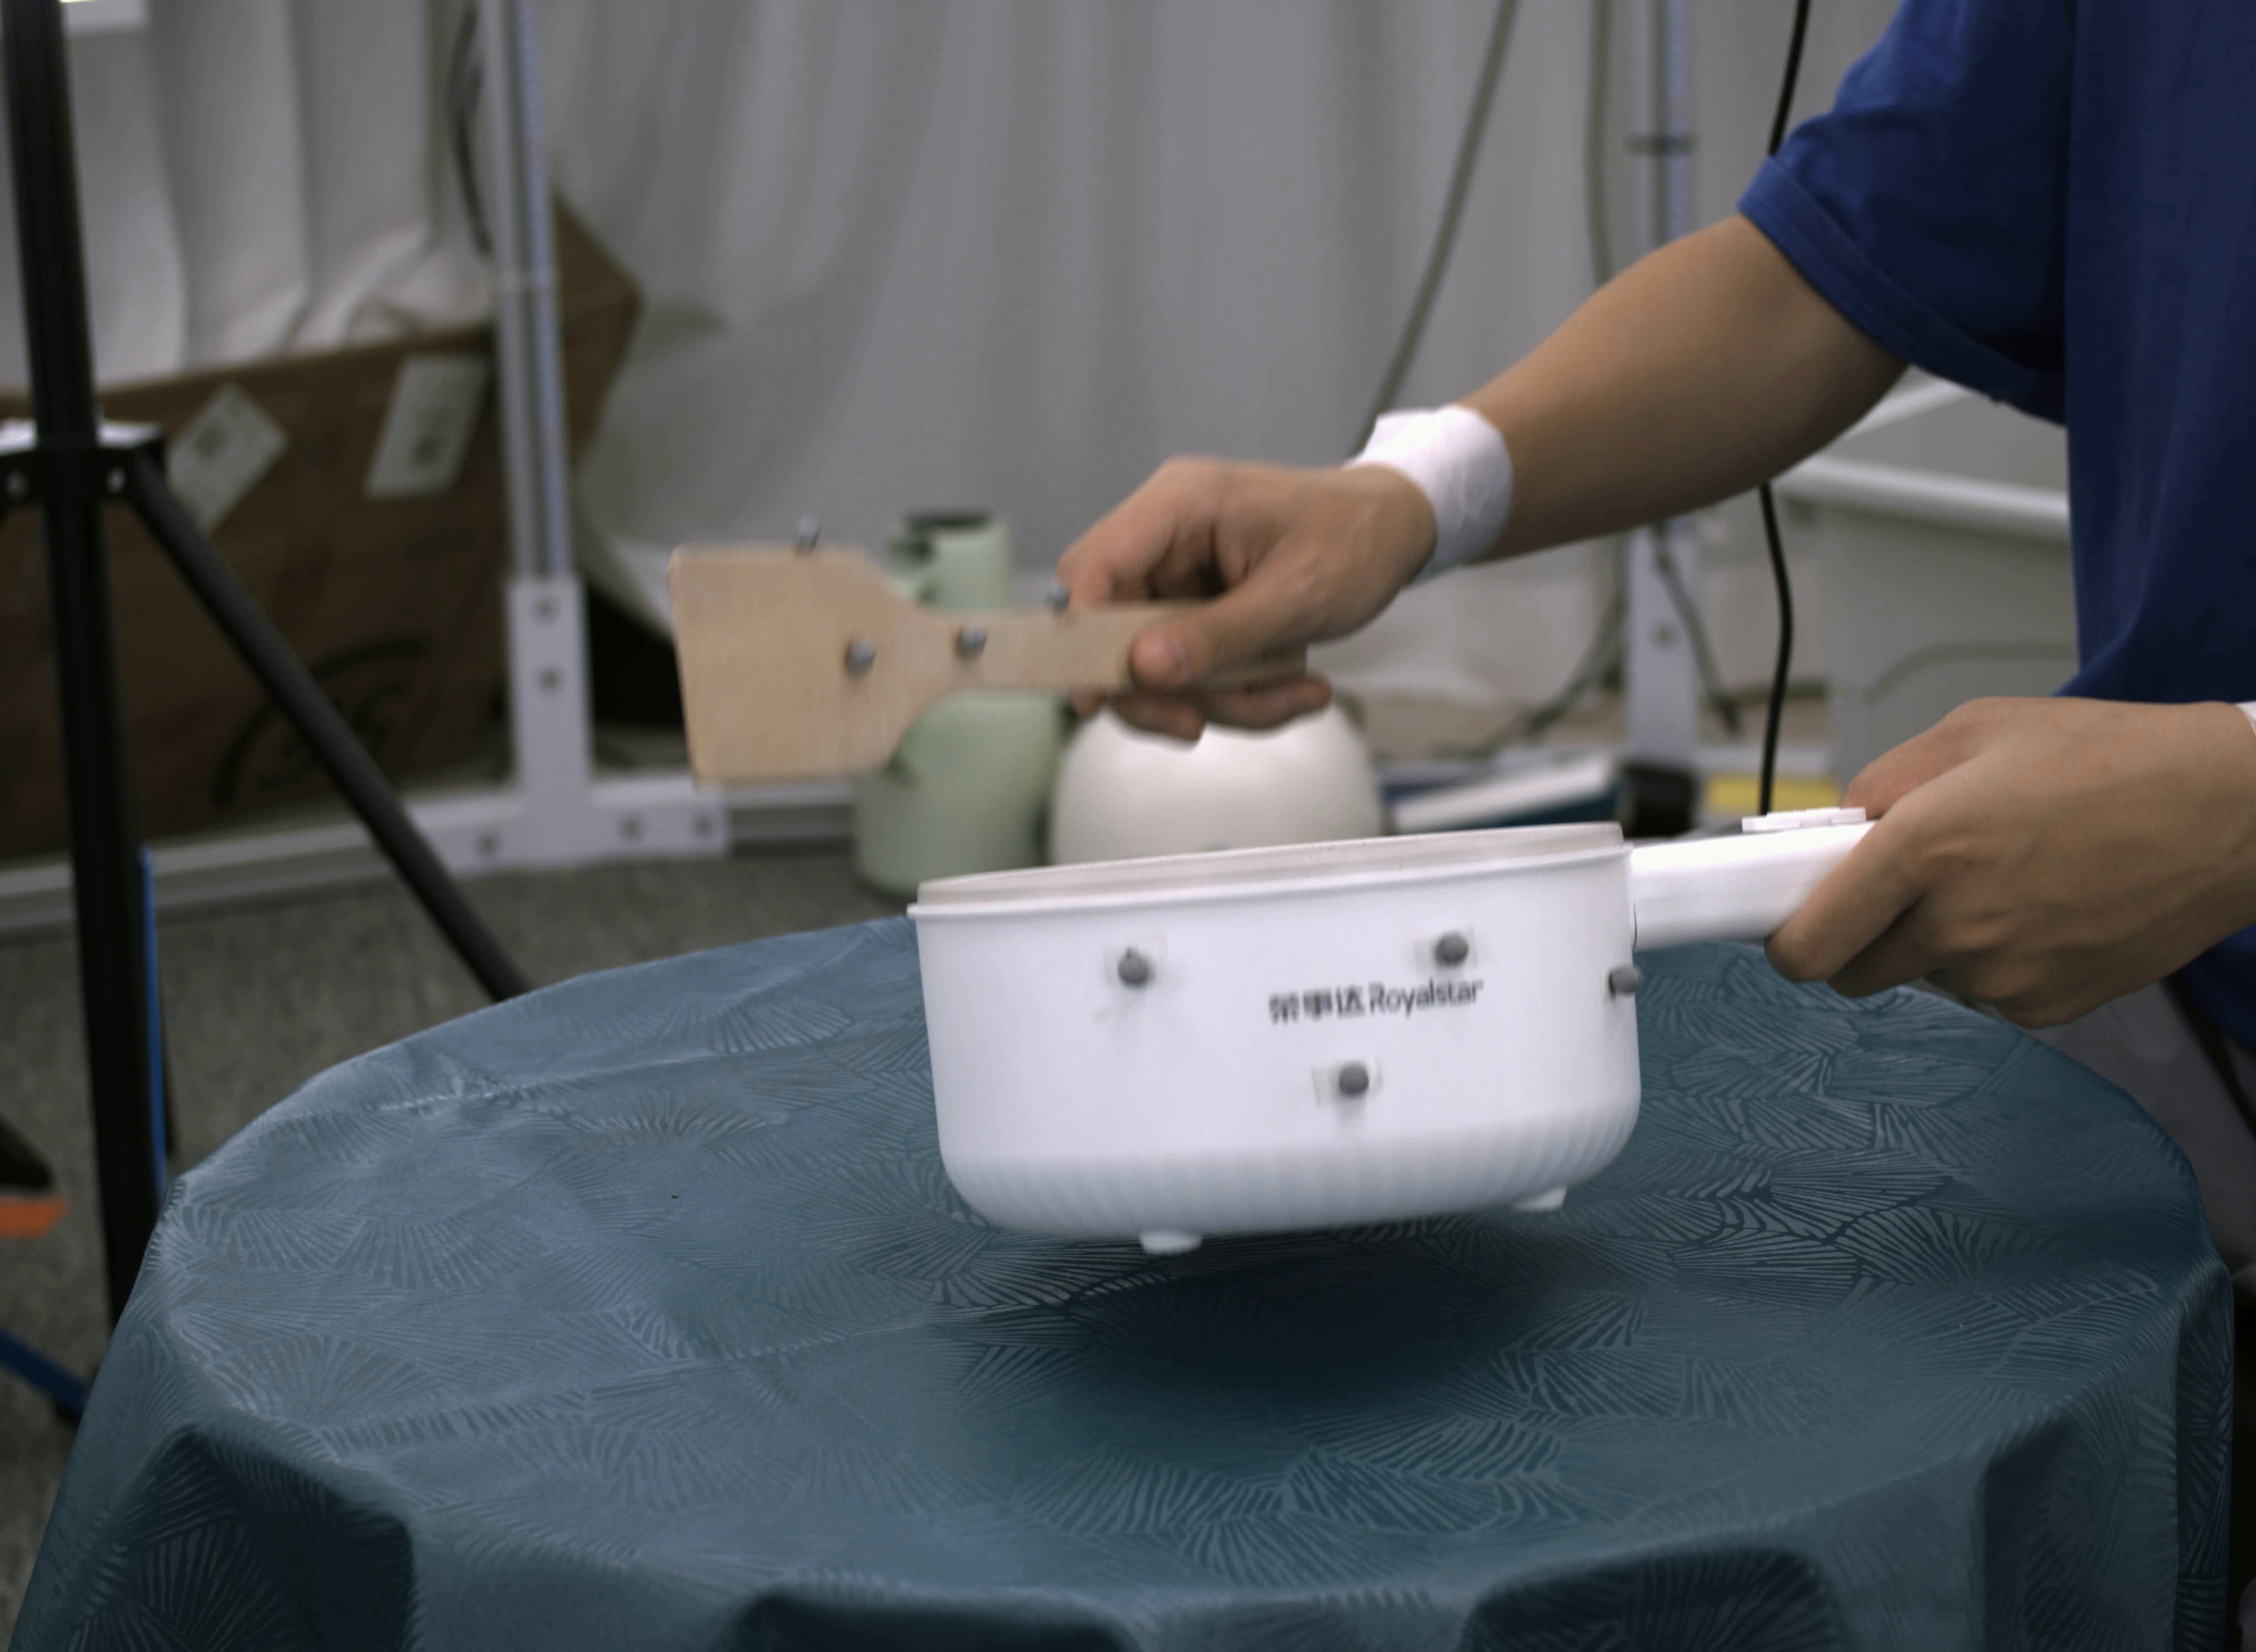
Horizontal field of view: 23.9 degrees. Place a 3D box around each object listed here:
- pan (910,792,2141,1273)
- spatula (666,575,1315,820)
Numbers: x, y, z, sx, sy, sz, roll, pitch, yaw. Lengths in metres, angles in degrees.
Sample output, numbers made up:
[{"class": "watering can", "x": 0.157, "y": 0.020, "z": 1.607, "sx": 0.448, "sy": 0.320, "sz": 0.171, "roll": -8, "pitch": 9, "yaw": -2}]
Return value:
[{"class": "pan", "x": 0.117, "y": 0.056, "z": 1.476, "sx": 0.349, "sy": 0.102, "sz": 0.203, "roll": -6, "pitch": -1, "yaw": -14}, {"class": "spatula", "x": -0.037, "y": -0.047, "z": 1.669, "sx": 0.011, "sy": 0.073, "sz": 0.285, "roll": -13, "pitch": -5, "yaw": 43}]
